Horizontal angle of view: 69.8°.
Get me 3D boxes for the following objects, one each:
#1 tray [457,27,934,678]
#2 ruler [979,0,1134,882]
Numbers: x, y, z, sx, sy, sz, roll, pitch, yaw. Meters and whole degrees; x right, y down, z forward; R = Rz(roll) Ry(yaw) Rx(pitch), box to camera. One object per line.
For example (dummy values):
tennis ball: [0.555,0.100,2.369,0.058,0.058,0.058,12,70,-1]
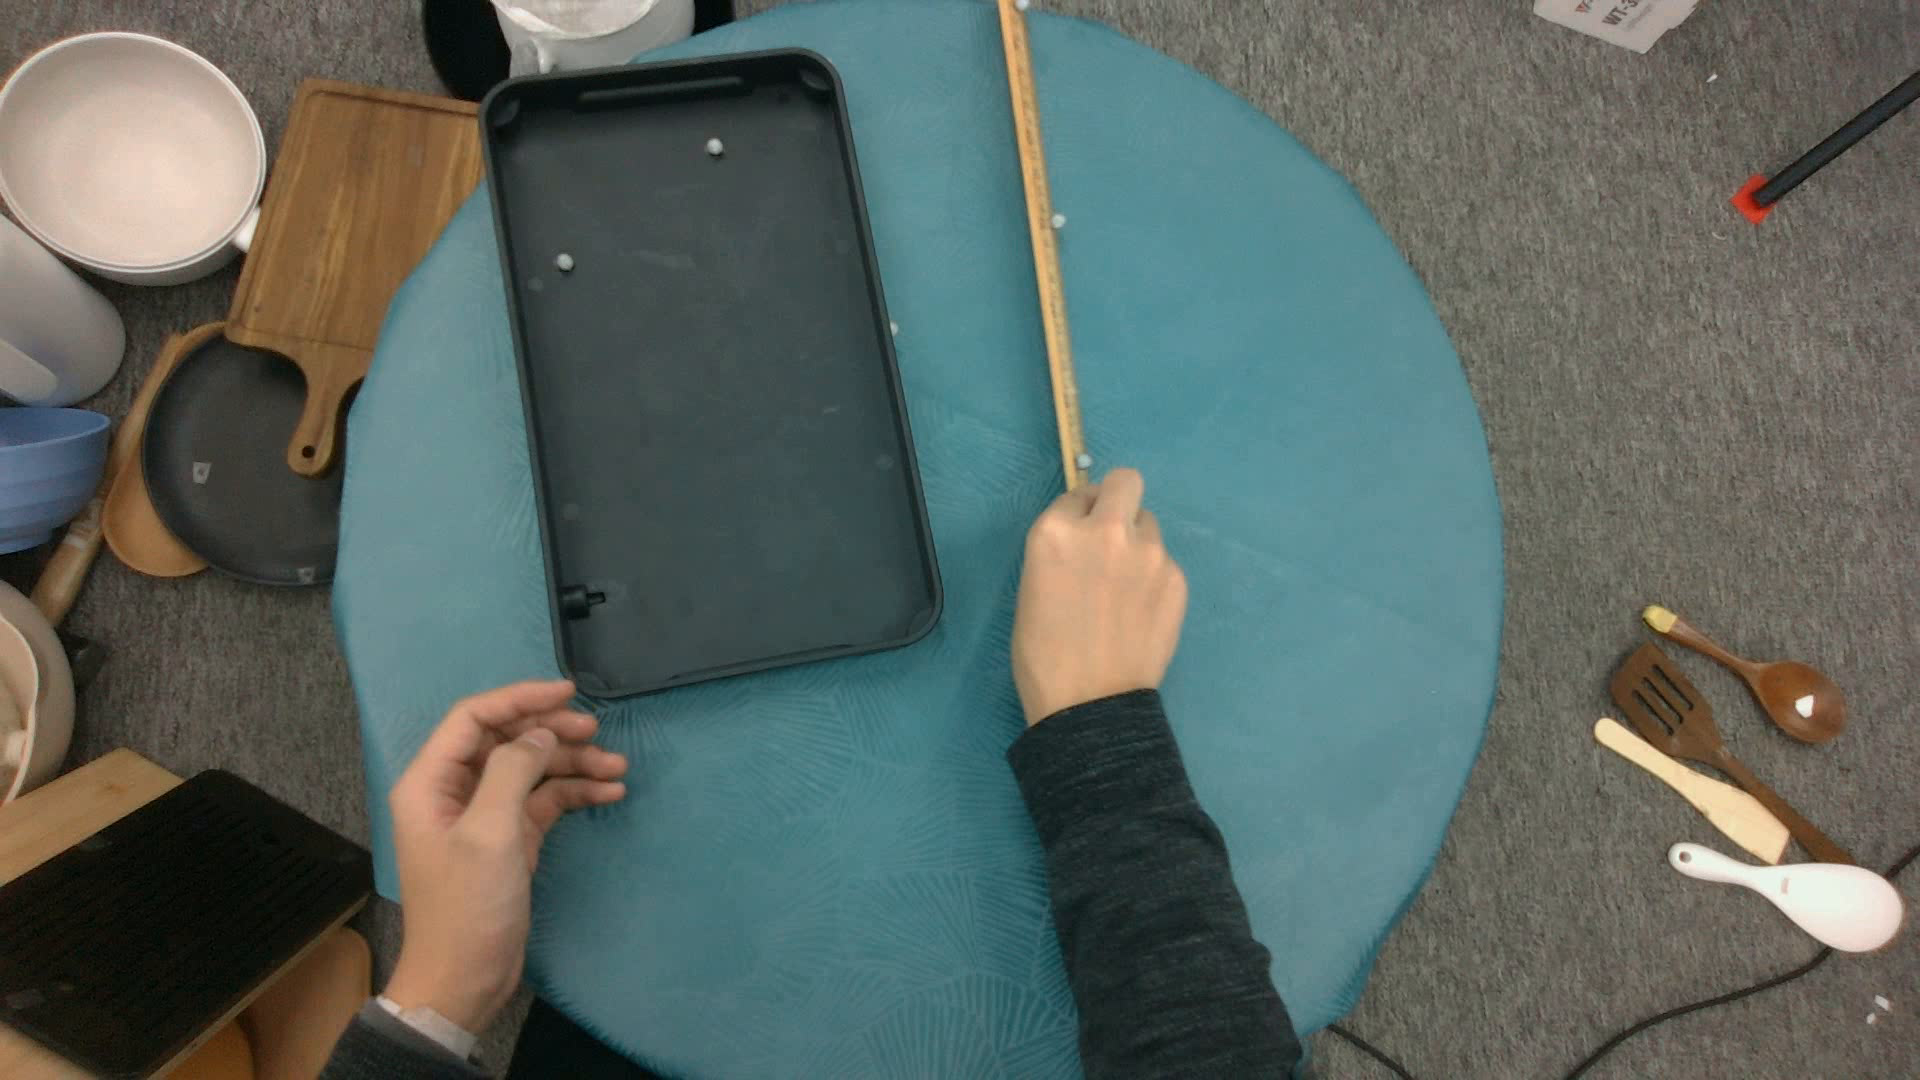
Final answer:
tray: [-0.134,-0.099,0.692,0.184,0.037,0.318,-11,80,-10]
ruler: [0.046,-0.078,0.716,0.006,0.027,0.501,-13,76,21]
